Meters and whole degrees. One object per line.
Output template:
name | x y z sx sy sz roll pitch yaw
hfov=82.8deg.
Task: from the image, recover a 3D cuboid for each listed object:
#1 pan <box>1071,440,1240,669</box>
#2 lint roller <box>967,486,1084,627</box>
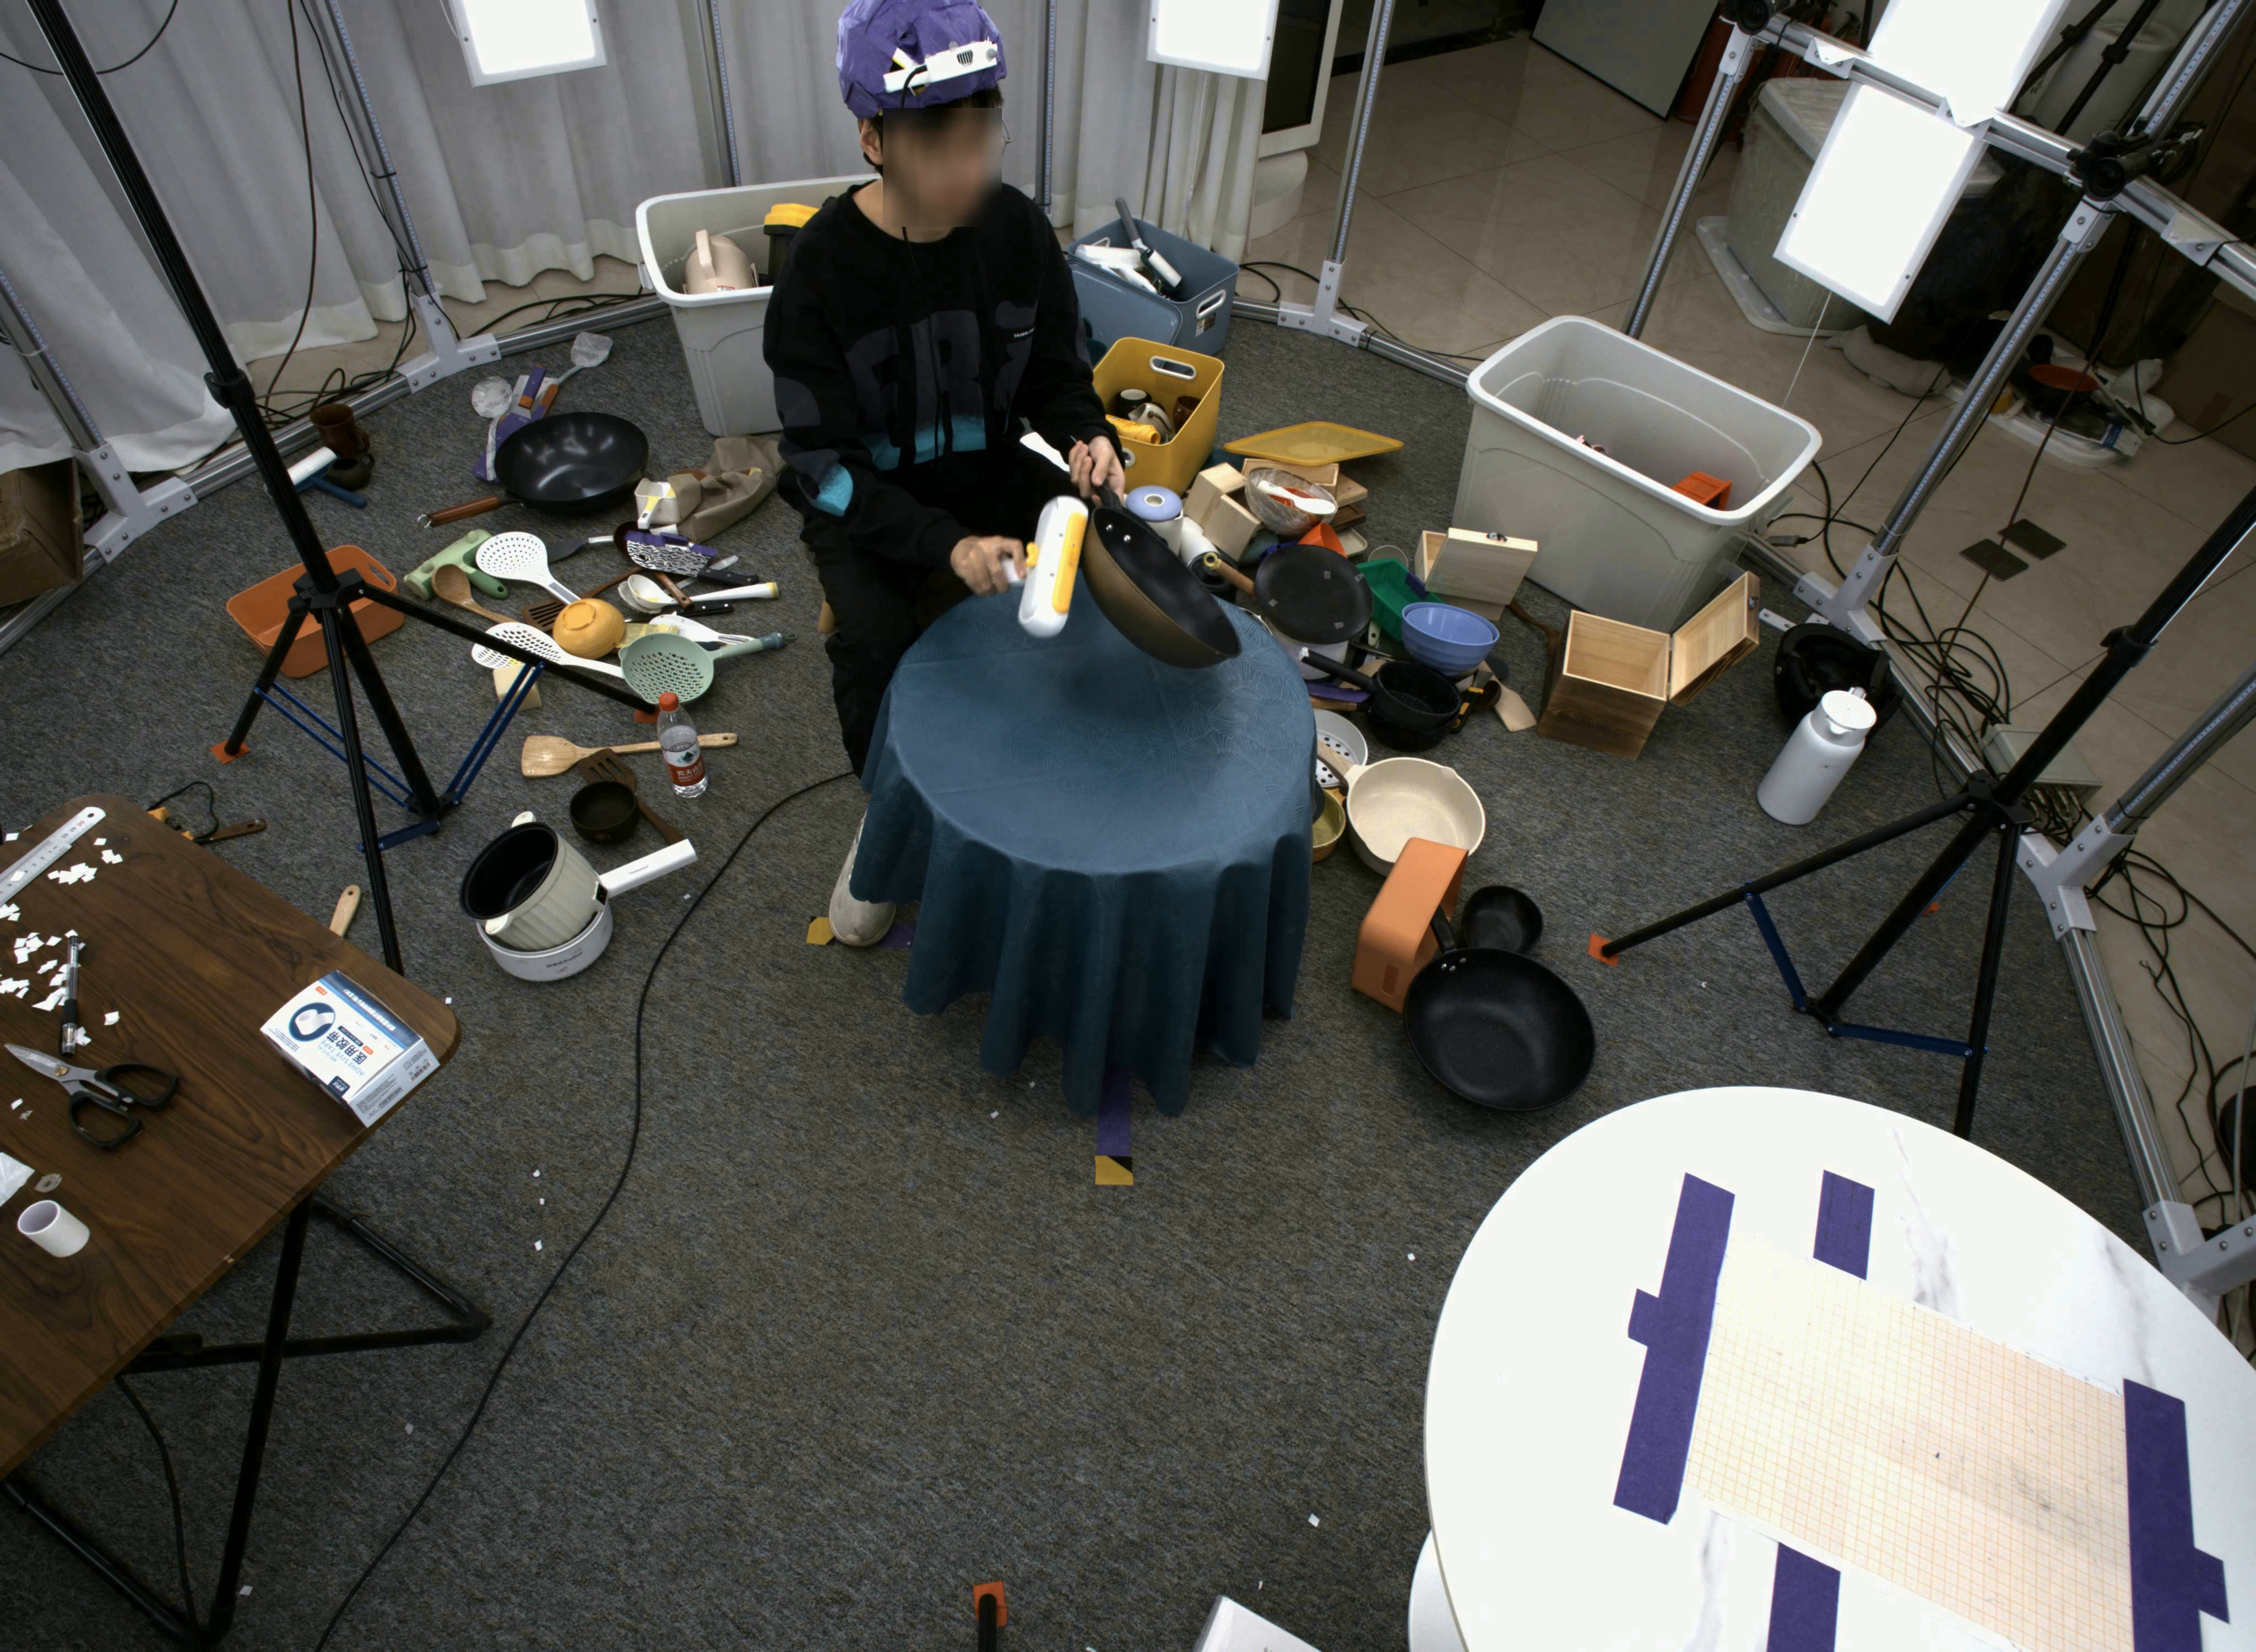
pan | -0.010 -0.379 1.813 0.284 0.086 0.473 18 35 -49
lint roller | -0.141 -0.354 1.750 0.073 0.192 0.195 14 74 -40
